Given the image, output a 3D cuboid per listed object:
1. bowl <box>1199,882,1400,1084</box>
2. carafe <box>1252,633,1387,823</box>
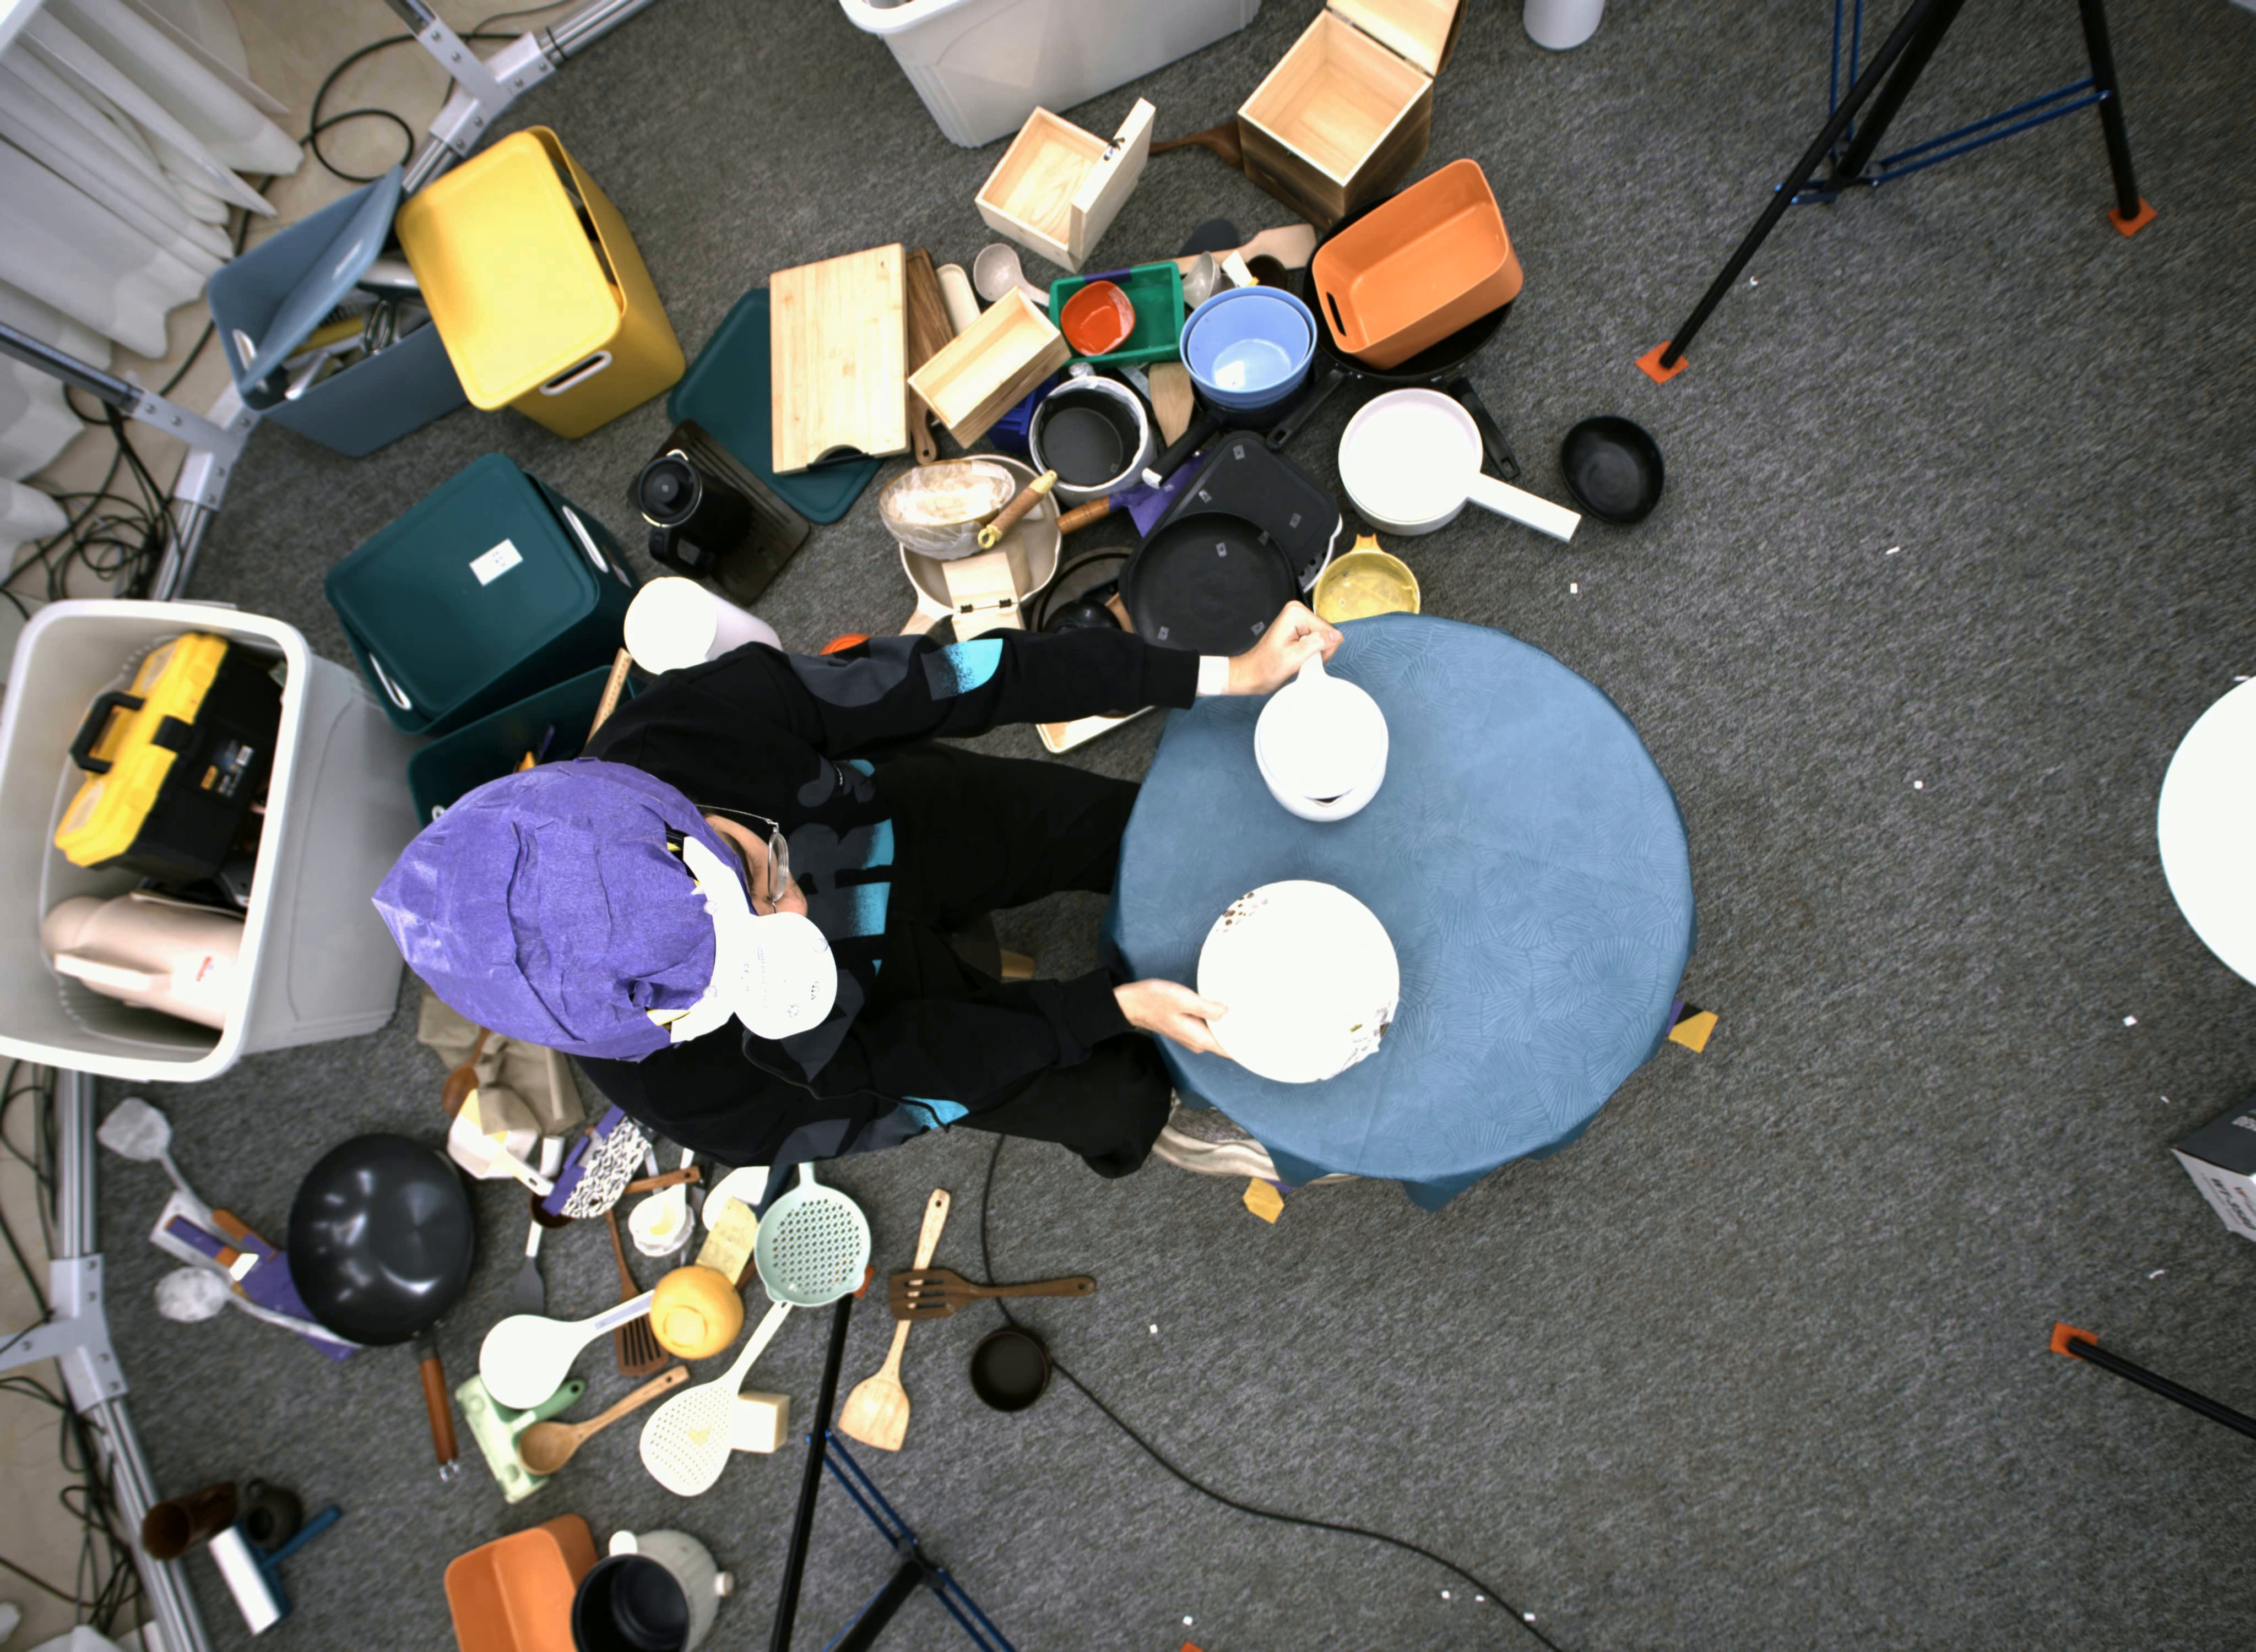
[{"bbox_3d":[0.179,0.162,1.430,0.205,0.078,0.202,-2,84,13],"label":"bowl"},{"bbox_3d":[0.190,-0.101,1.392,0.133,0.183,0.189,-10,82,8],"label":"carafe"}]
